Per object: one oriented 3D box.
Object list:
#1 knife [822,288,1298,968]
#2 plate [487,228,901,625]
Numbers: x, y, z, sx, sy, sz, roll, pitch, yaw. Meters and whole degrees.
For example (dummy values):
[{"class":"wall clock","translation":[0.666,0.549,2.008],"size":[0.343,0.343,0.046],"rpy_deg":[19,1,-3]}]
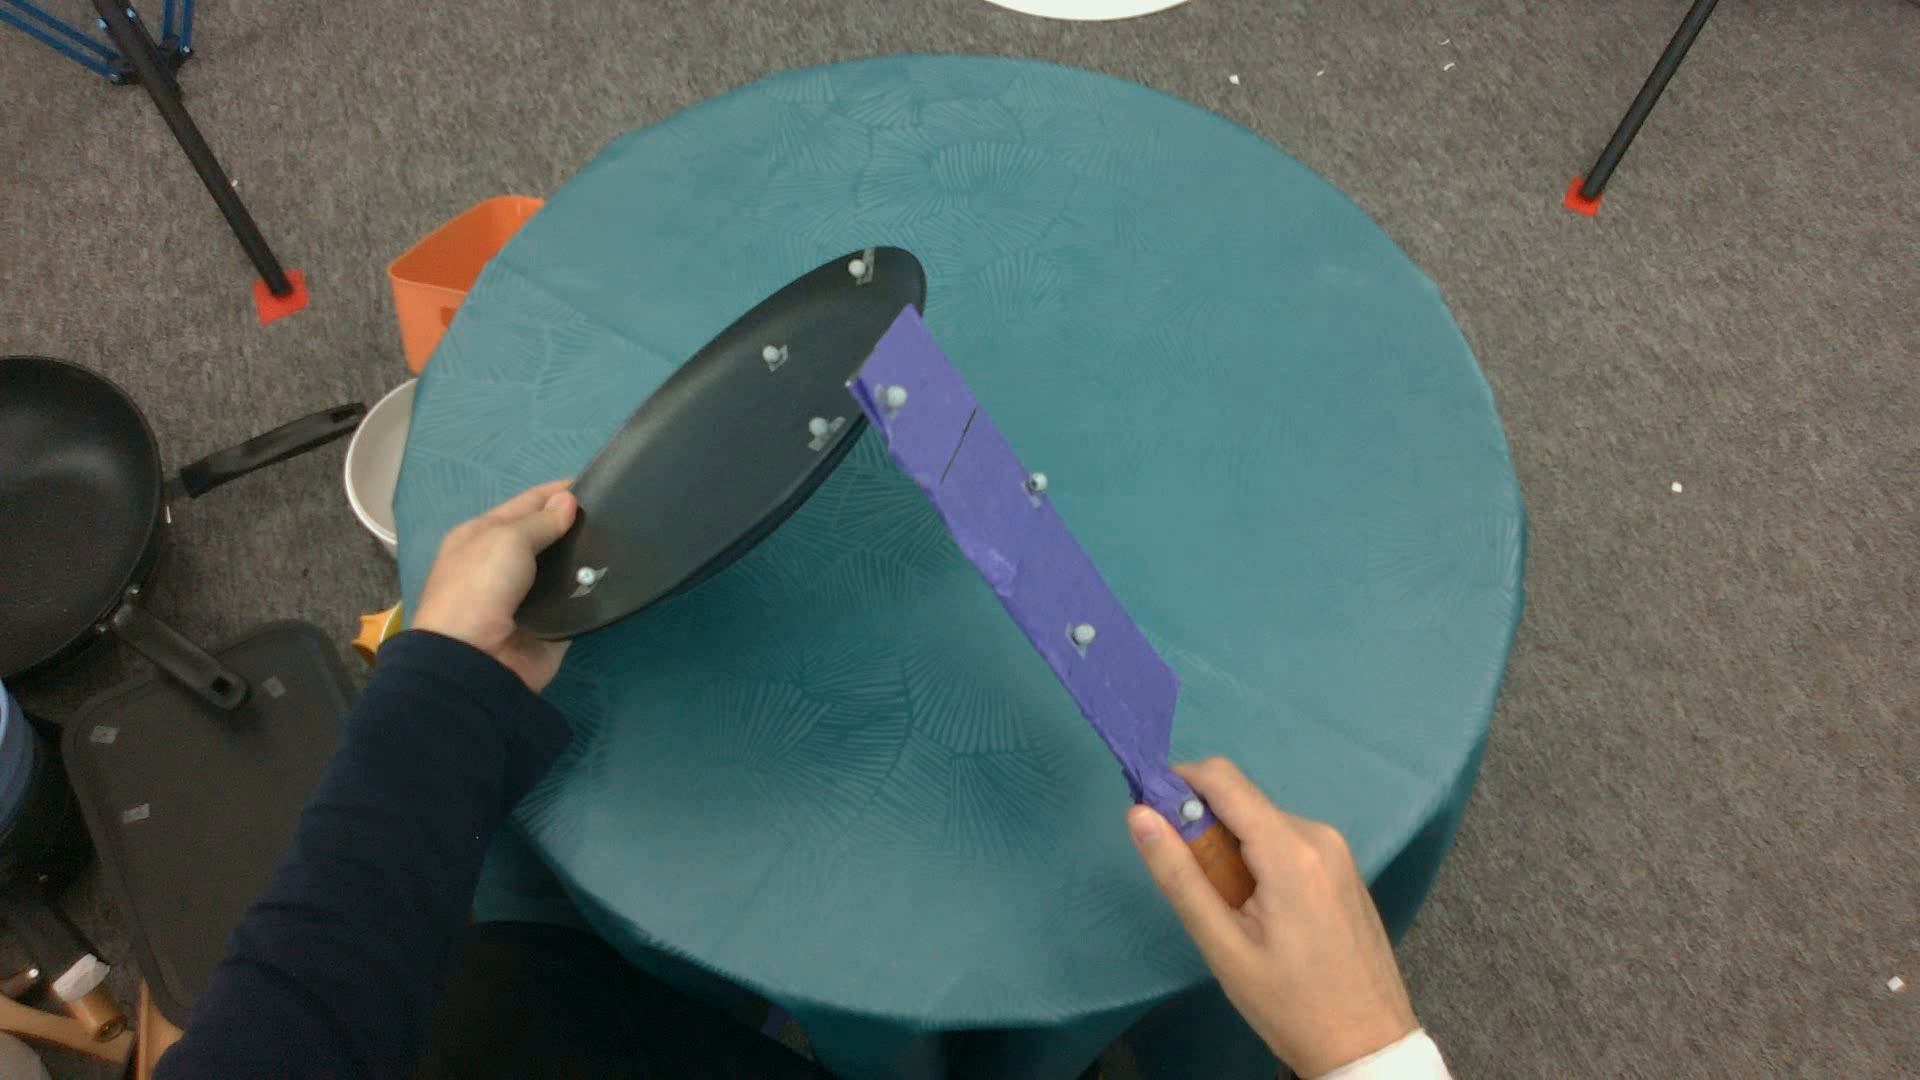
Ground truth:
[{"class":"knife","translation":[0.051,0.035,0.559],"size":[0.315,0.032,0.104],"rpy_deg":[55,26,-18]},{"class":"plate","translation":[-0.119,-0.052,0.628],"size":[0.023,0.243,0.245],"rpy_deg":[48,60,-29]}]
